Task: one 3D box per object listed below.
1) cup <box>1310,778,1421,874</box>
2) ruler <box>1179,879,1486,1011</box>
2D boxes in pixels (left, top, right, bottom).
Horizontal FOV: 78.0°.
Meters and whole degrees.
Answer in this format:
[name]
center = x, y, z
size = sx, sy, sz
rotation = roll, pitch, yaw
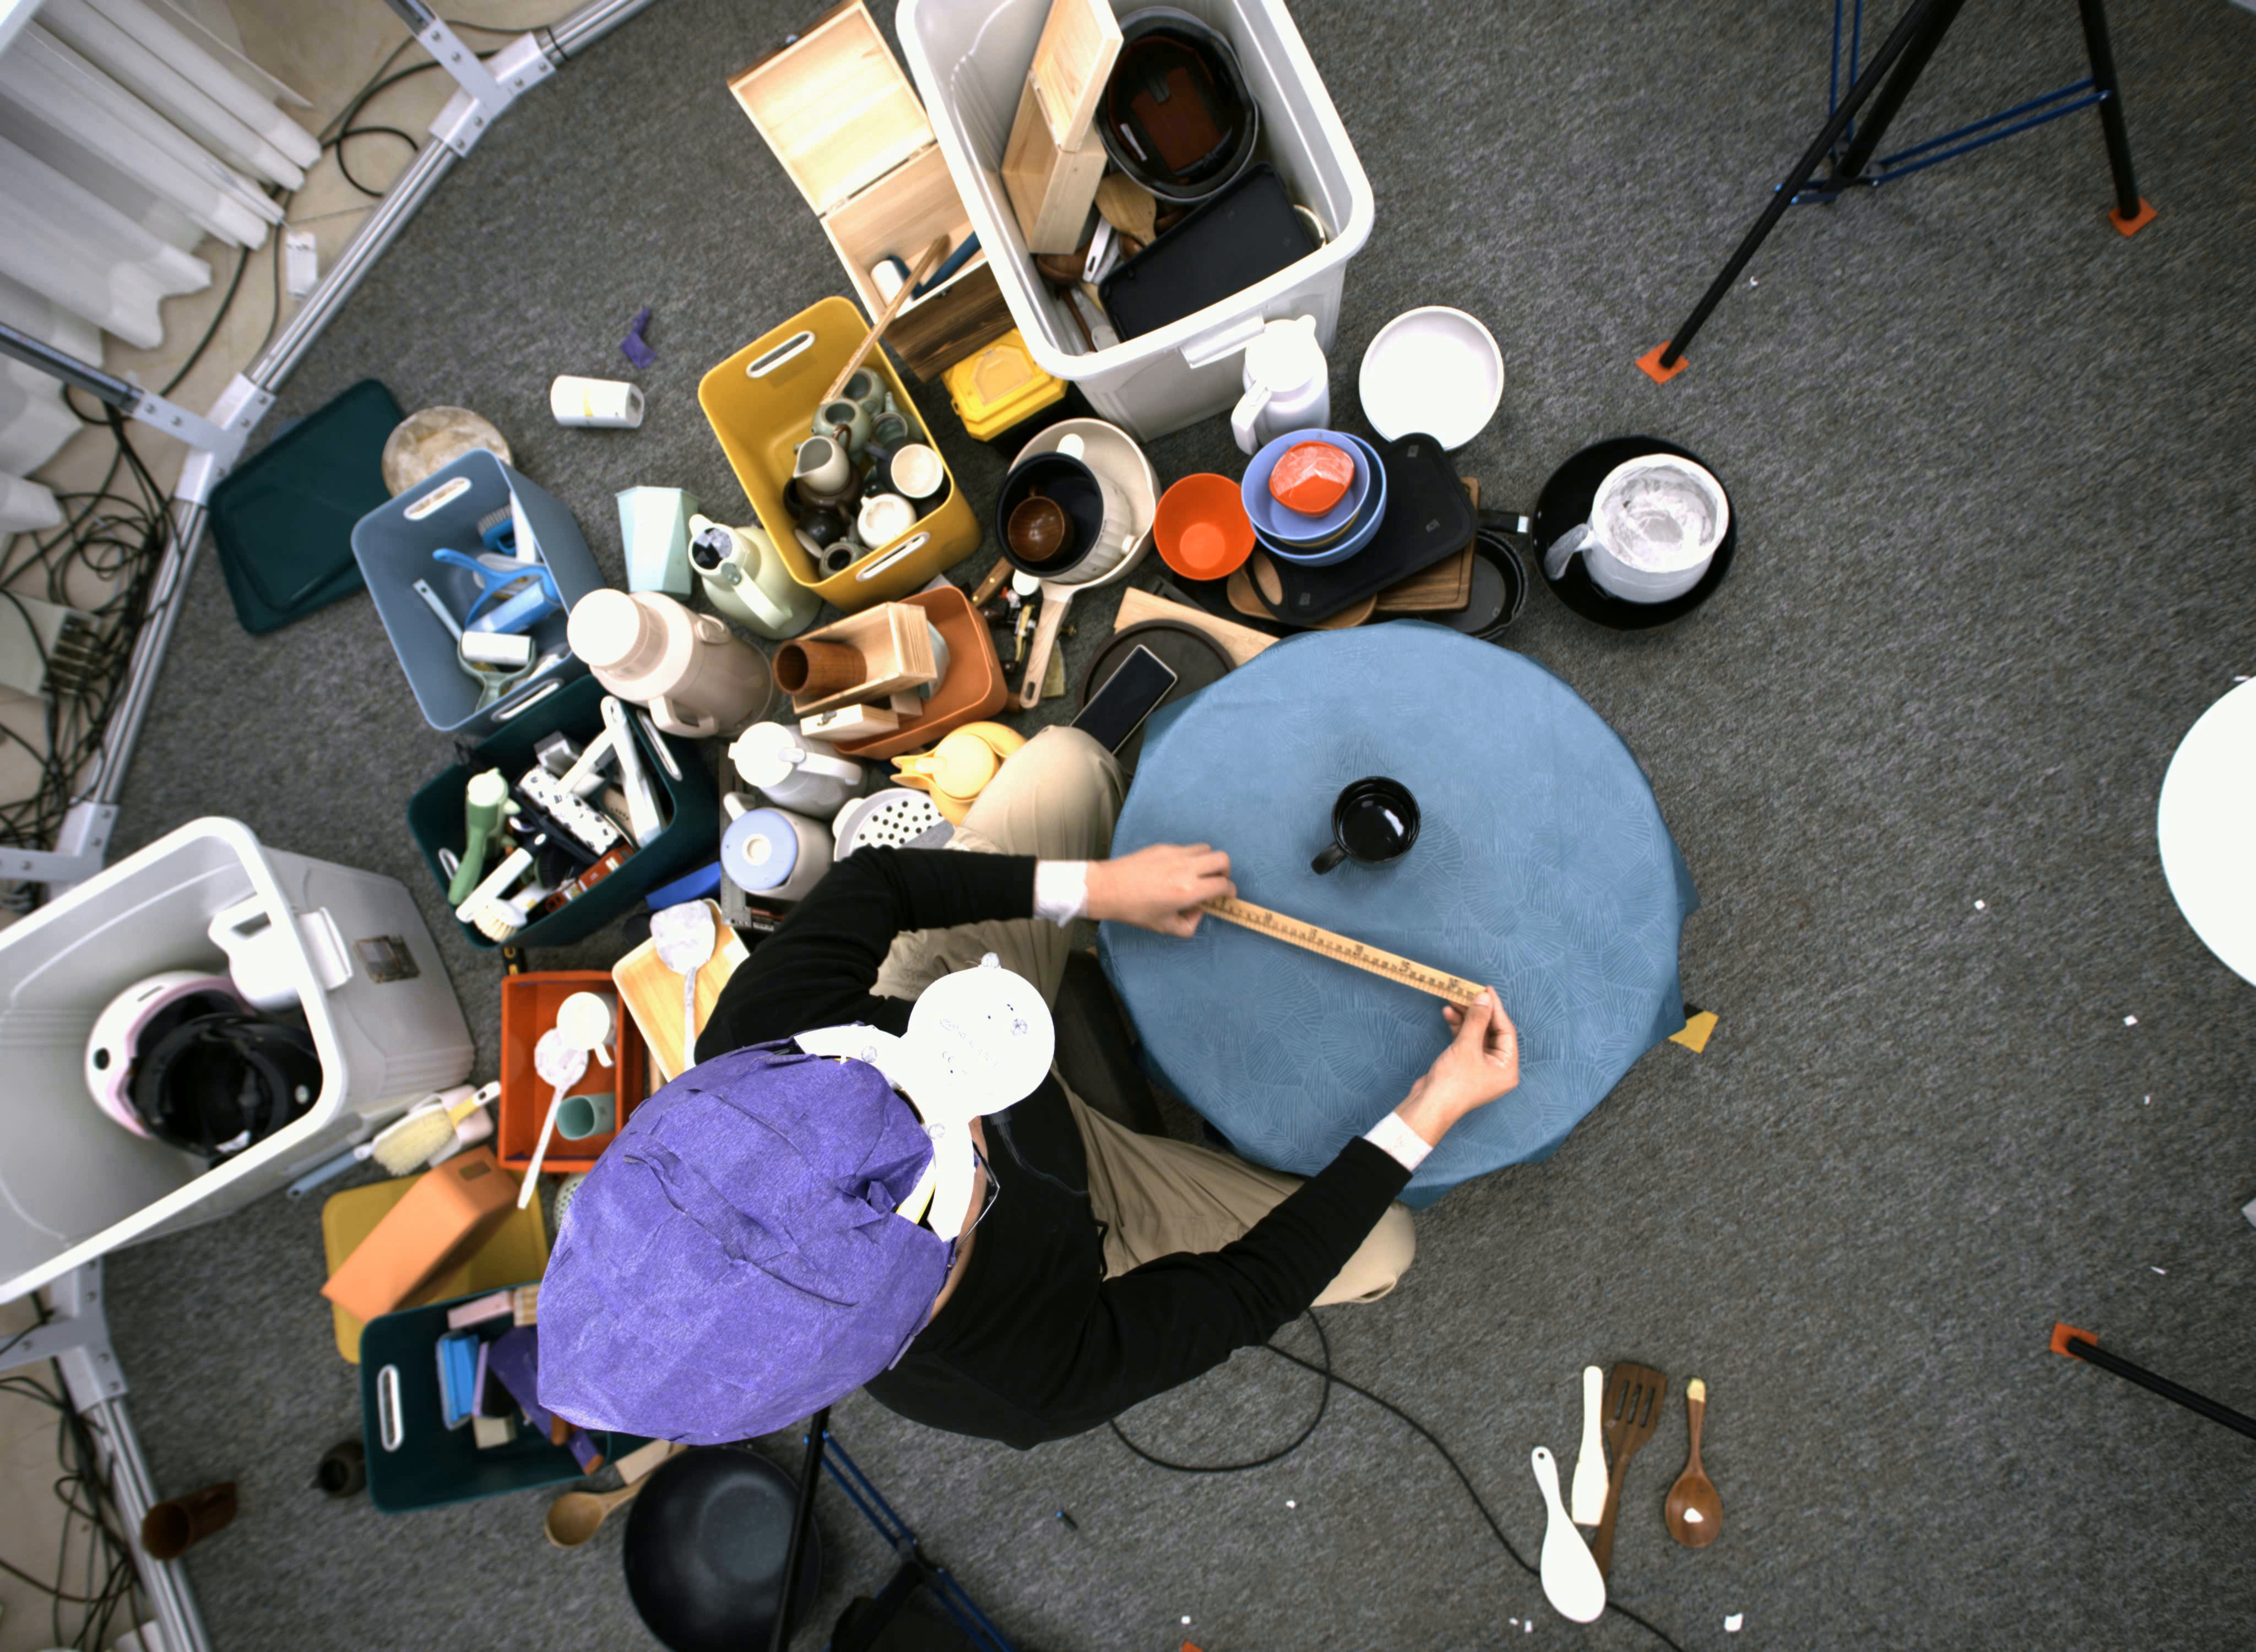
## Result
[cup]
center = 0.240, 0.008, 1.418
size = 0.124, 0.105, 0.088
rotation = -36, 82, 6
[ruler]
center = 0.206, 0.121, 1.435
size = 0.332, 0.022, 0.027
rotation = 20, 89, 17
